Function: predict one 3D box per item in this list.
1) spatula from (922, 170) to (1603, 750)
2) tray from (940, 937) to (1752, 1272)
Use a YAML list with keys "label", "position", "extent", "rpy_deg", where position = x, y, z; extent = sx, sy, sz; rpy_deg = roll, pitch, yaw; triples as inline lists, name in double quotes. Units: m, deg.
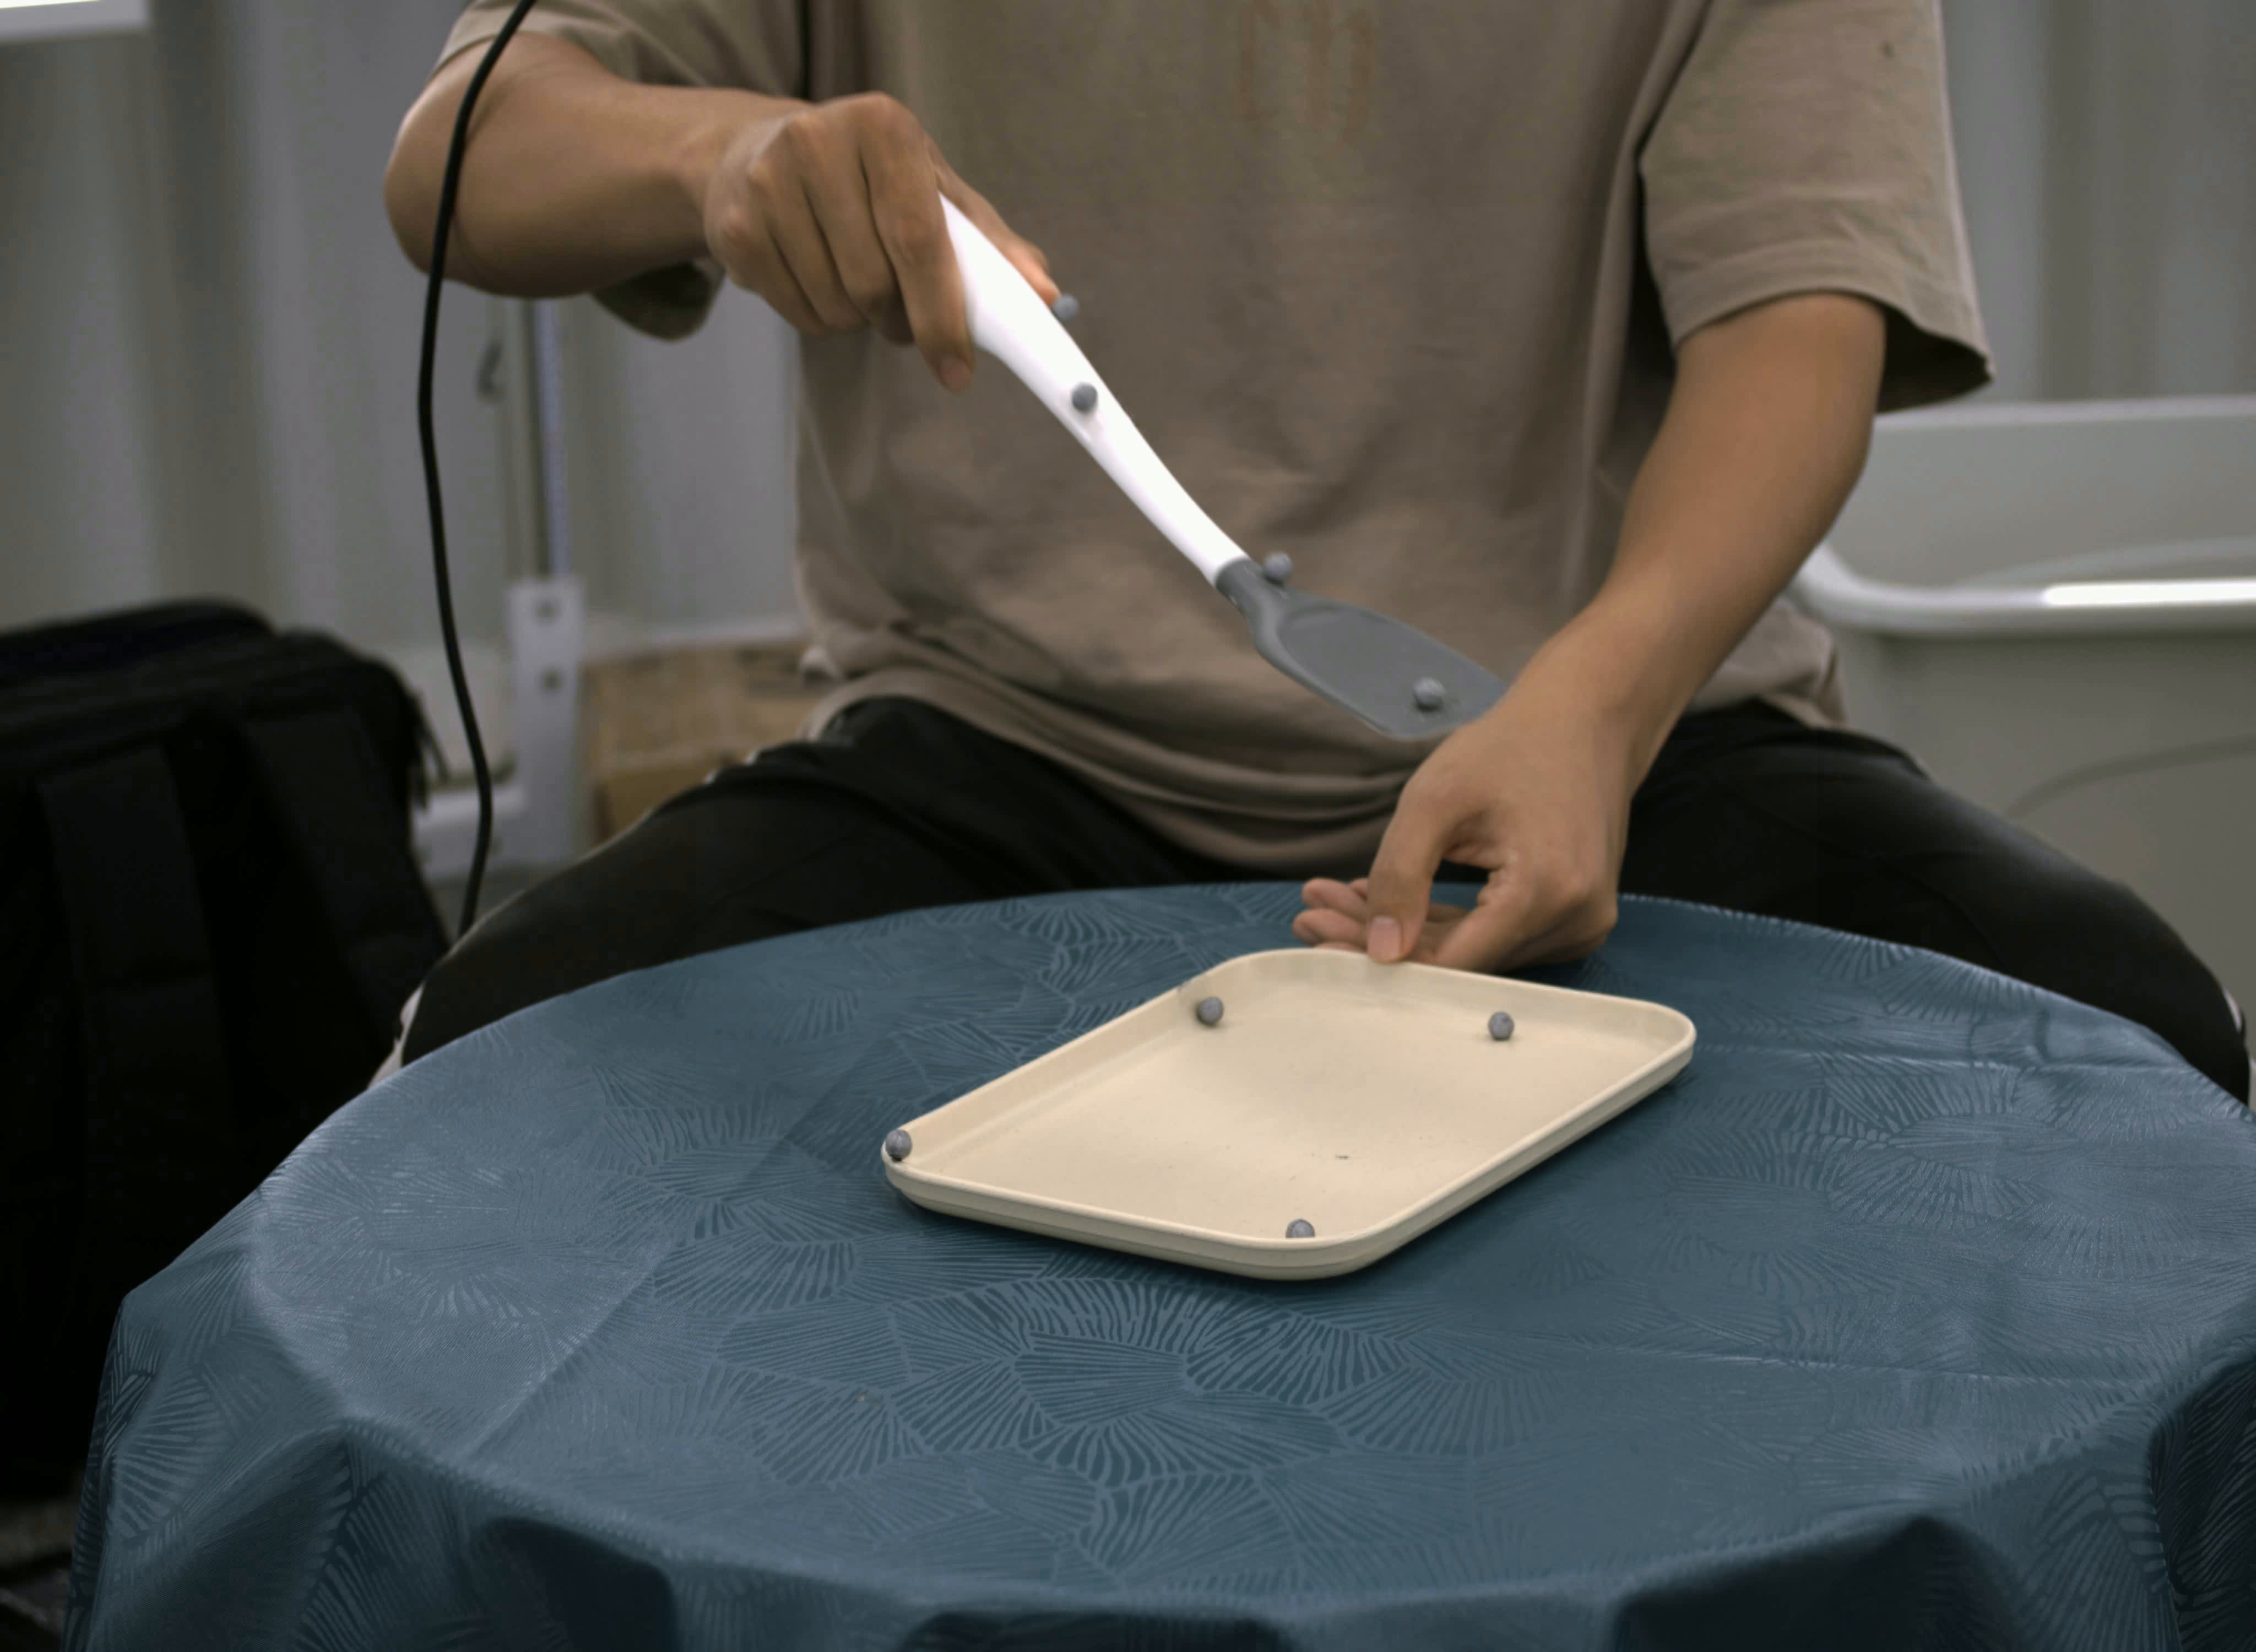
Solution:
- label: "spatula"
  position: [0.033, -0.106, 1.588]
  extent: [0.057, 0.032, 0.294]
  rpy_deg: [-14, 45, -37]
- label: "tray"
  position: [0.069, 0.082, 1.591]
  extent: [0.175, 0.017, 0.235]
  rpy_deg: [10, 20, 34]
